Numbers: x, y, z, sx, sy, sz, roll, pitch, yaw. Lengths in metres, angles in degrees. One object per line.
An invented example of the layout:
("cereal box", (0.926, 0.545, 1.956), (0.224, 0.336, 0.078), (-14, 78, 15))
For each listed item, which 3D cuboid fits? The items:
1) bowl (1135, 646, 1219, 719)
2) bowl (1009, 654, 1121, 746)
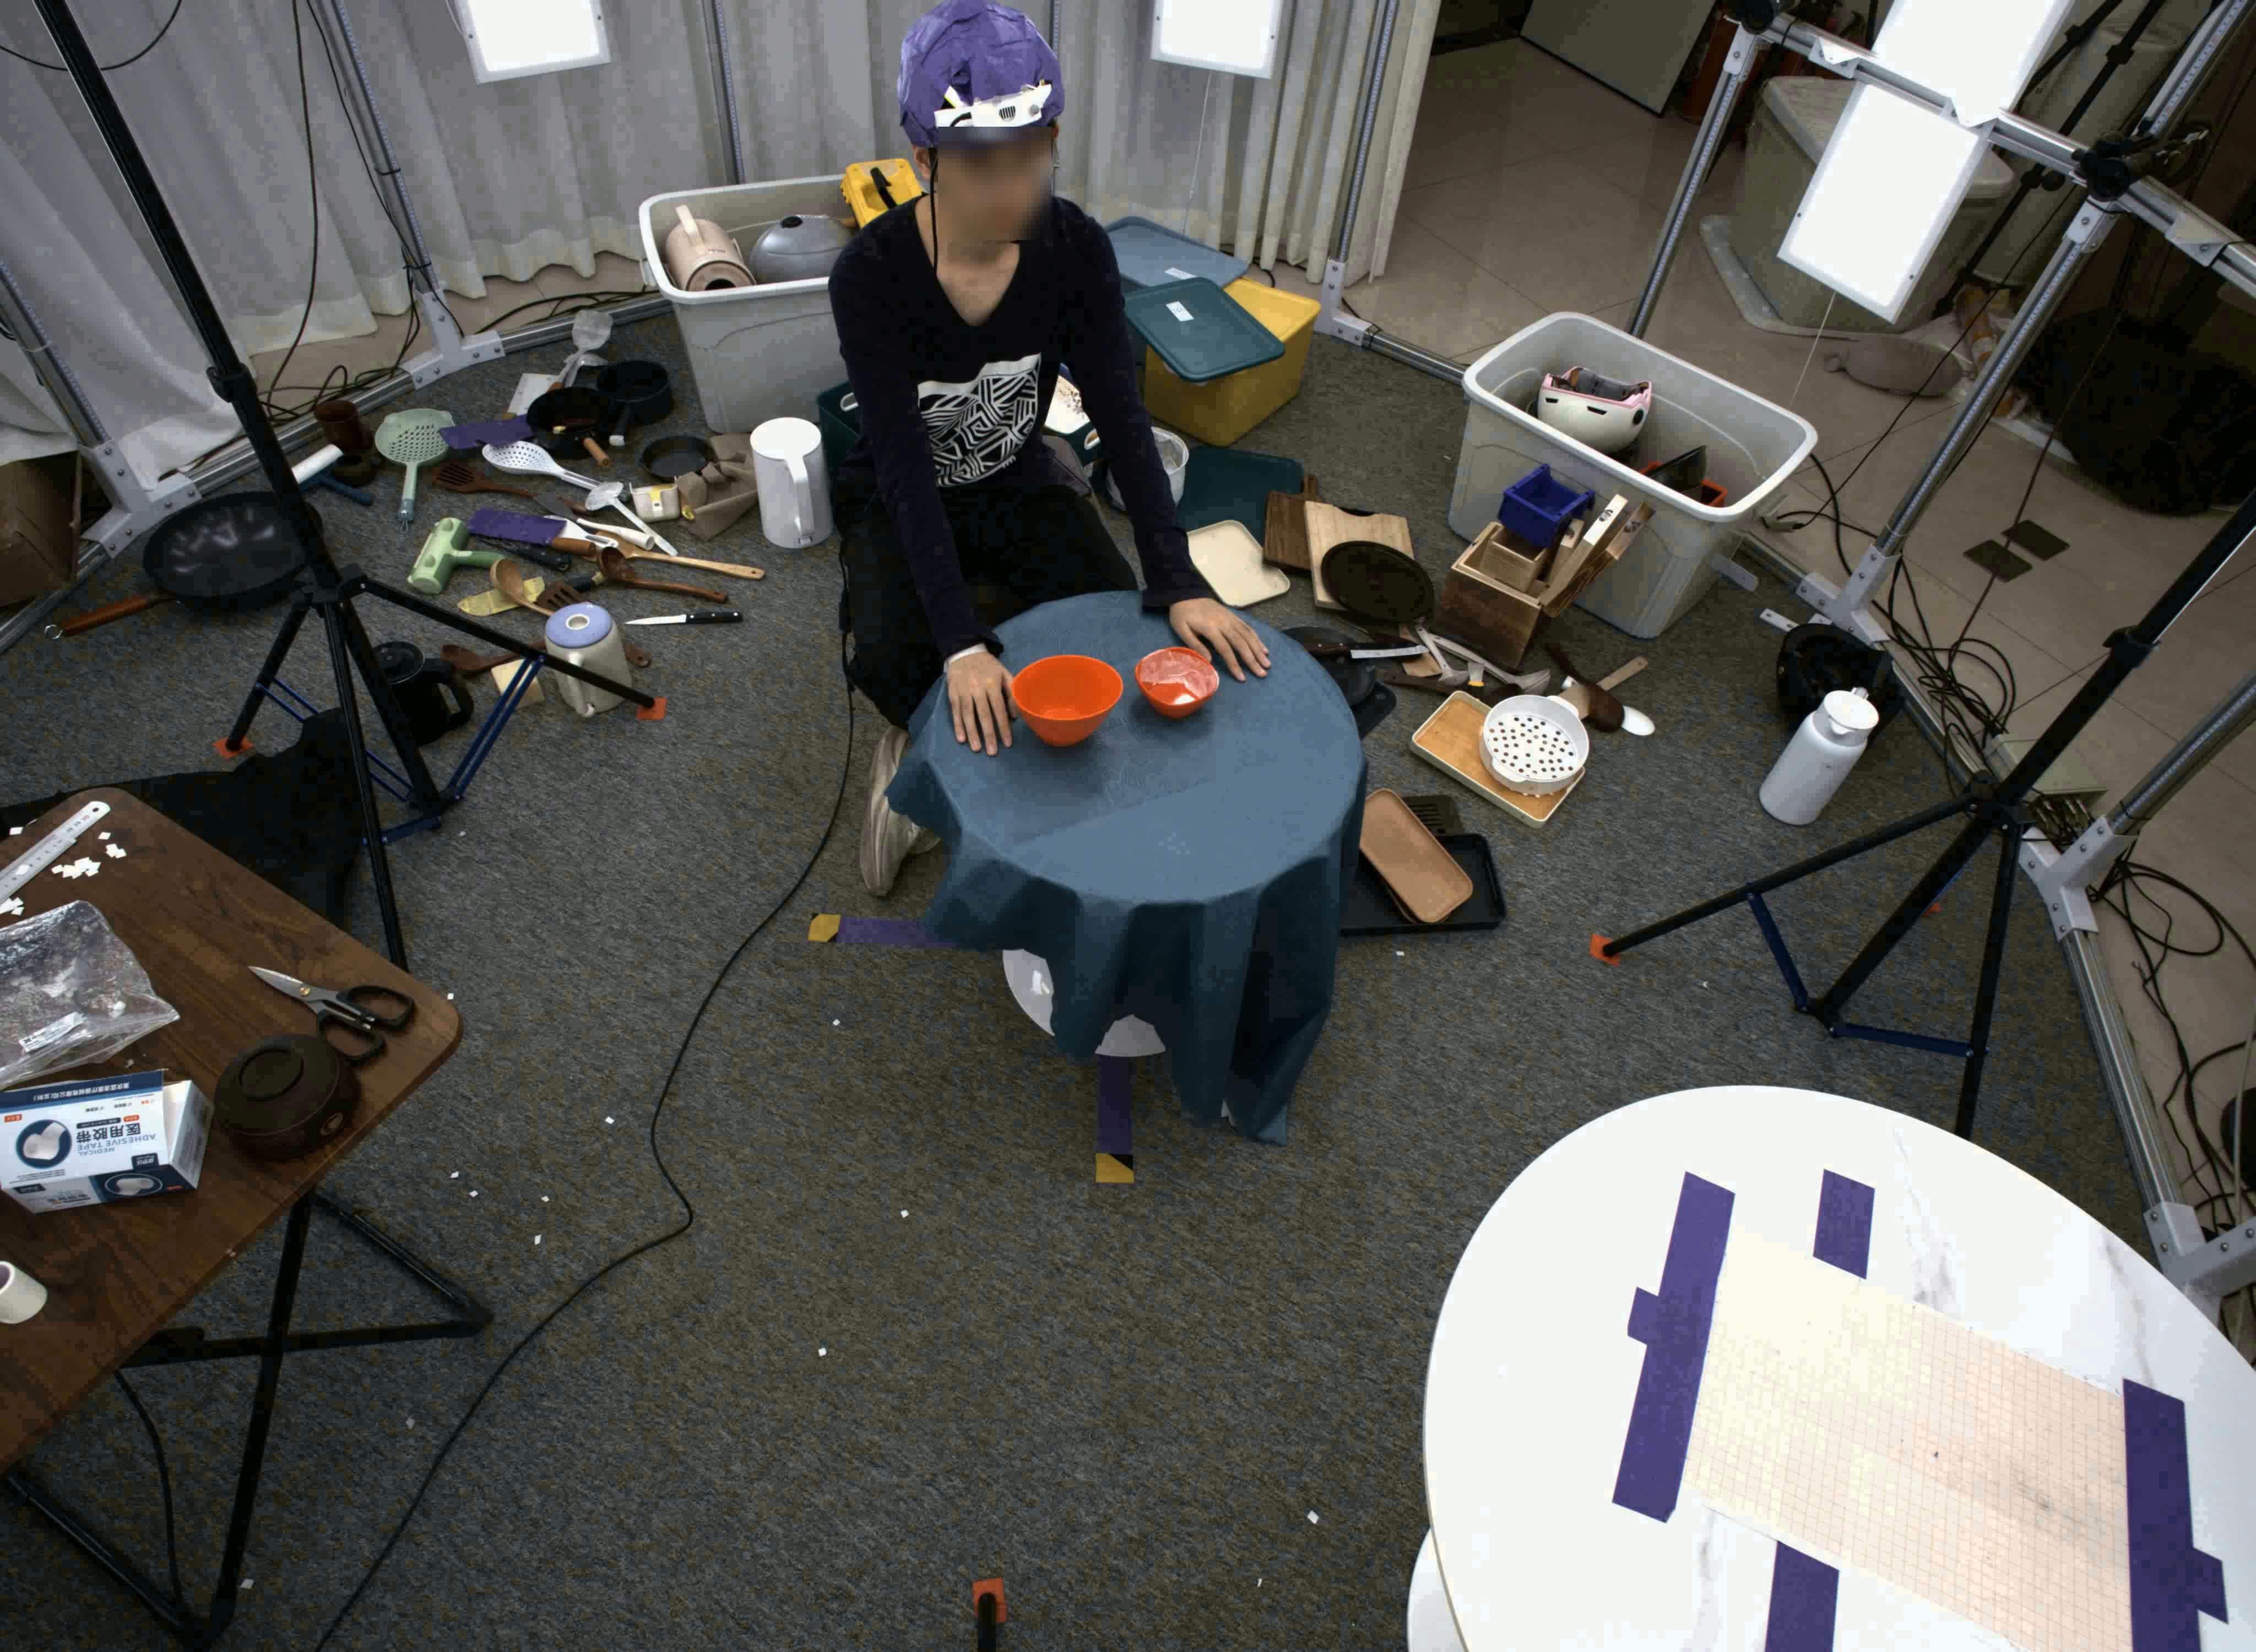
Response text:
("bowl", (0.067, -0.196, 1.809), (0.119, 0.050, 0.122), (1, 50, -2))
("bowl", (-0.086, -0.159, 1.733), (0.148, 0.102, 0.152), (2, 50, -2))
